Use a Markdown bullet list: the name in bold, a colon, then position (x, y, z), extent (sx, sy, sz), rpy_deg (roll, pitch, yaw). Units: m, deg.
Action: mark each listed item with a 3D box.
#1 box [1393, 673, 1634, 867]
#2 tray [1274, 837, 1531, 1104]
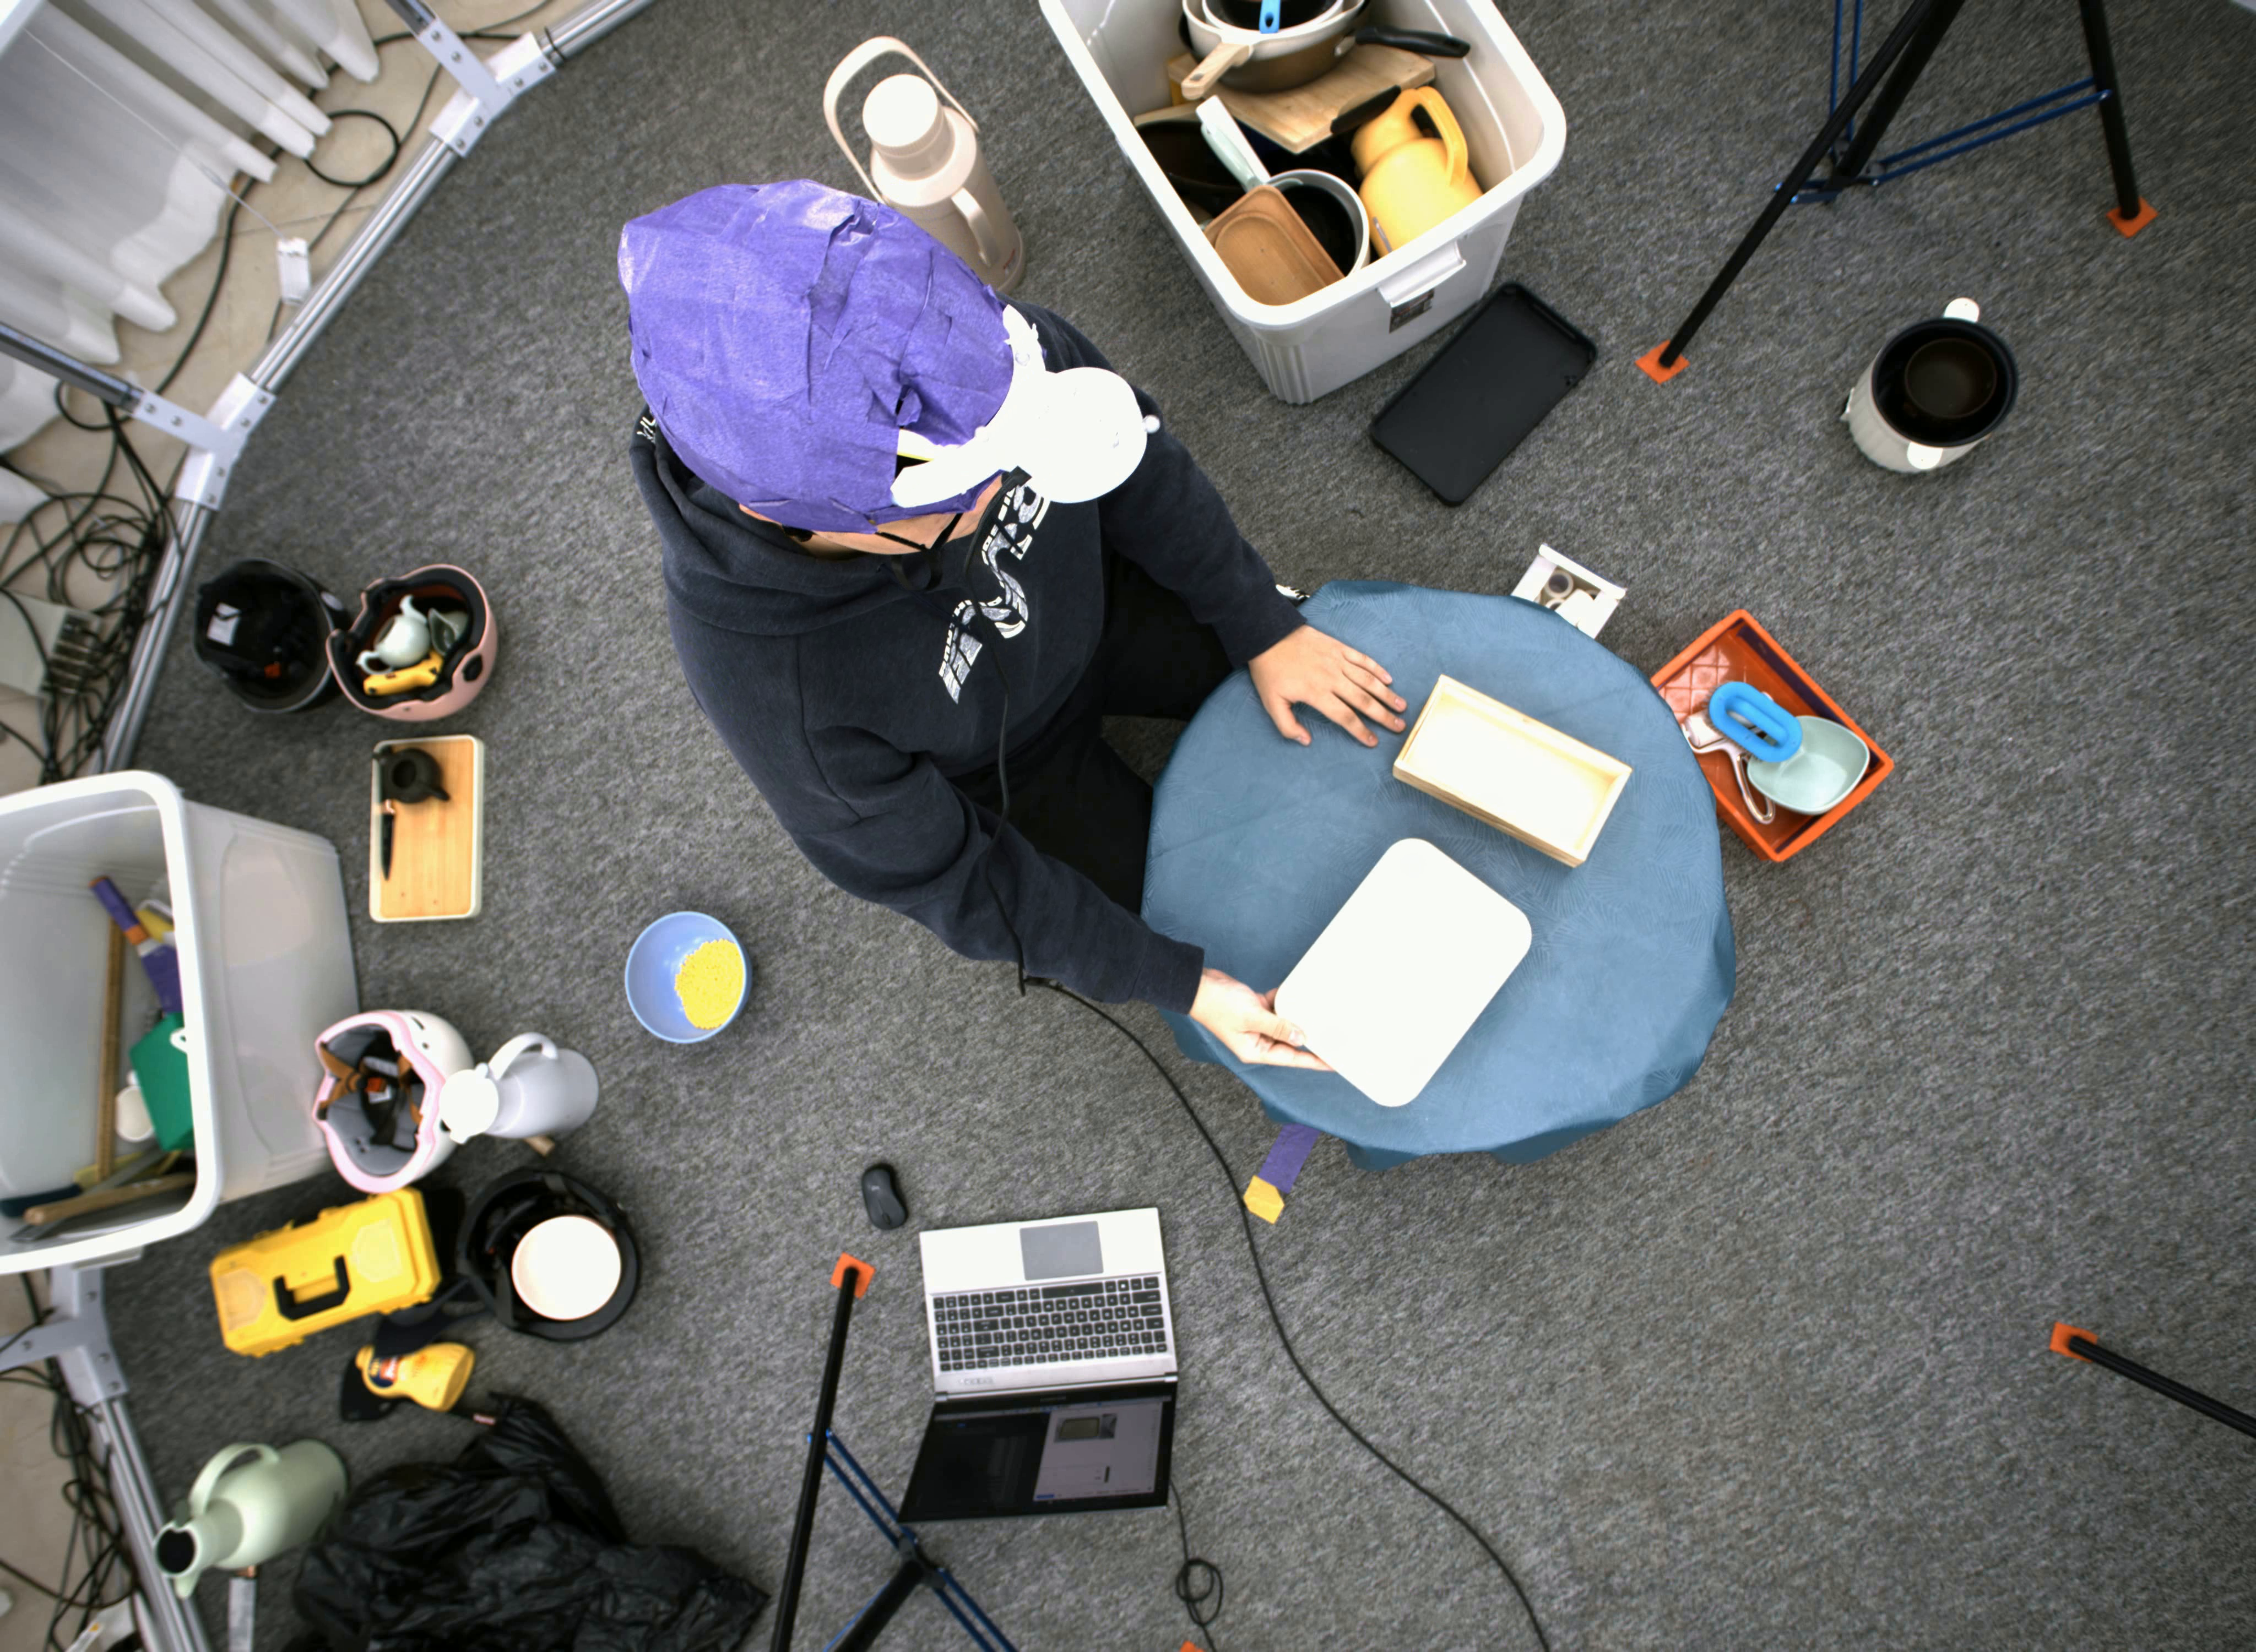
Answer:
- **box**: position (0.390, -0.059, 1.405), extent (0.211, 0.080, 0.107), rpy_deg (28, 90, 11)
- **tray**: position (0.273, 0.141, 1.377), extent (0.170, 0.017, 0.239), rpy_deg (38, 87, 12)
